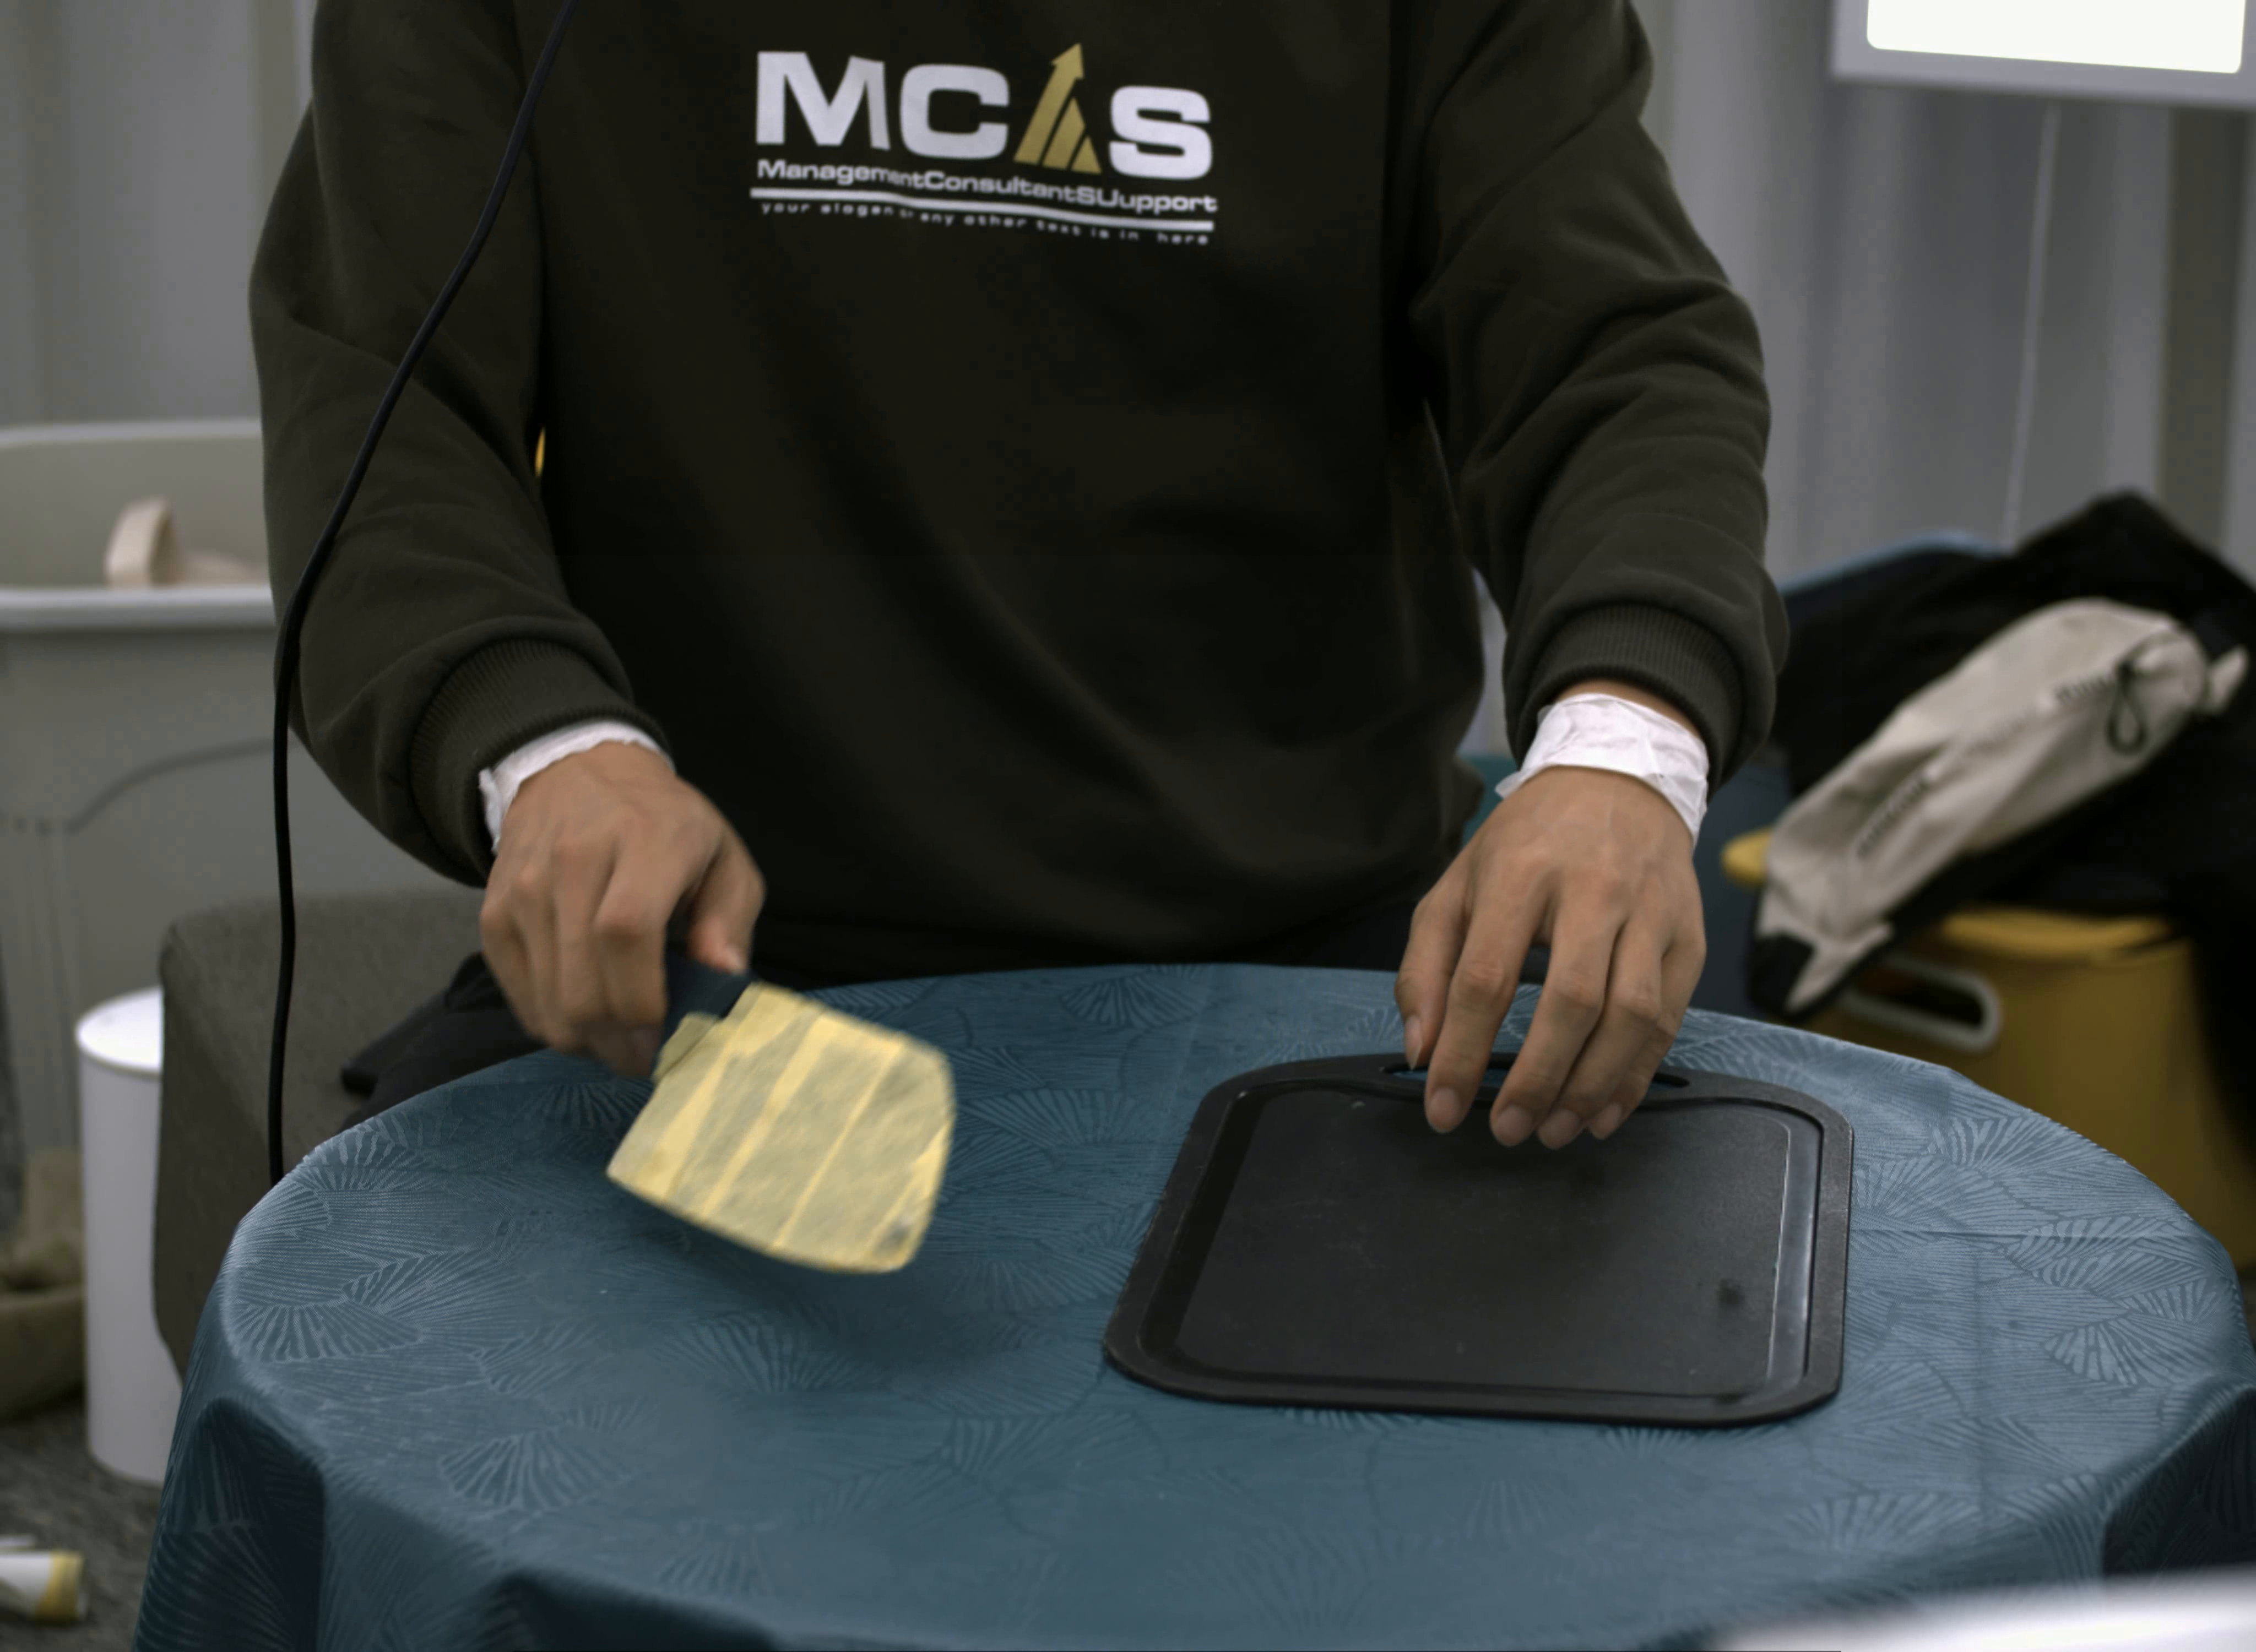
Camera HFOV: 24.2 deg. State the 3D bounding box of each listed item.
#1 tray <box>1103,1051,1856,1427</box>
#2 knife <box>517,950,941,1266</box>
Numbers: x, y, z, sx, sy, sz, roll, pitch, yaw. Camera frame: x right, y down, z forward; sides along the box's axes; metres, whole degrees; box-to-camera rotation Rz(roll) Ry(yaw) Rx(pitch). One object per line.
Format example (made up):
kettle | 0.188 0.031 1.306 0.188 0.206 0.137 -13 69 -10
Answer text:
tray | 0.113 0.117 1.598 0.210 0.010 0.324 3 16 8
knife | -0.127 0.081 1.573 0.027 0.081 0.286 42 -10 -28
